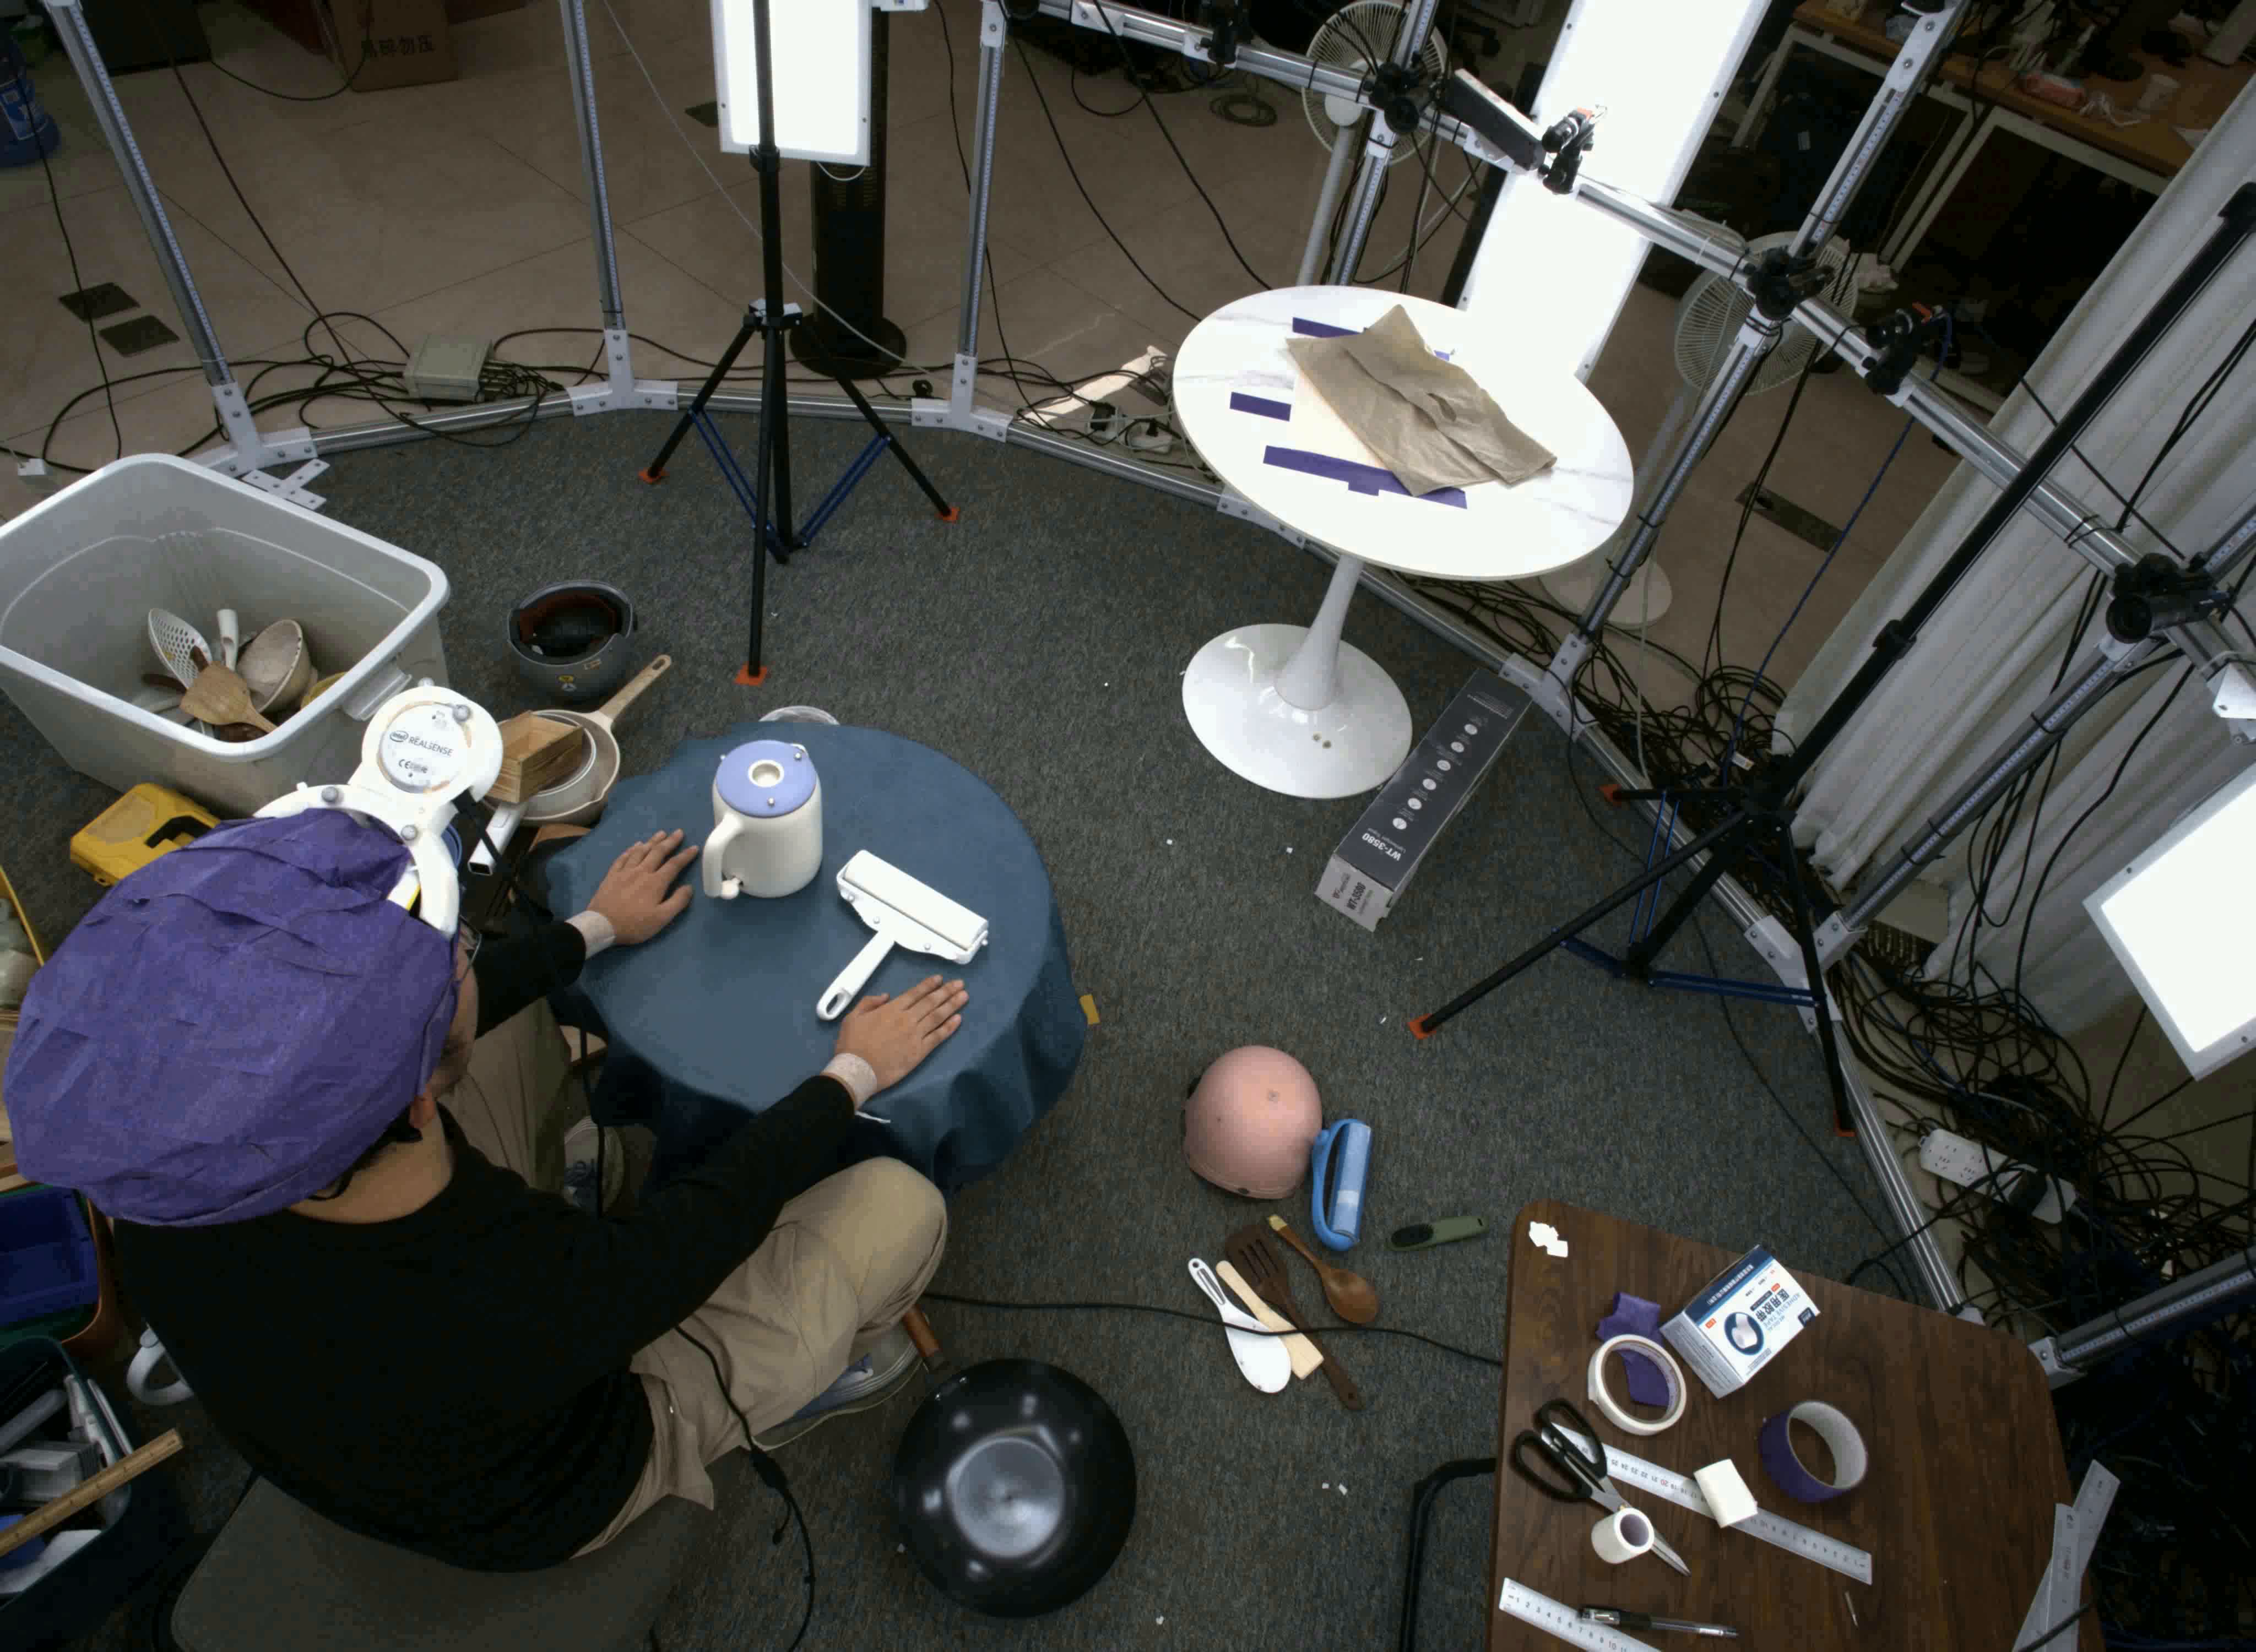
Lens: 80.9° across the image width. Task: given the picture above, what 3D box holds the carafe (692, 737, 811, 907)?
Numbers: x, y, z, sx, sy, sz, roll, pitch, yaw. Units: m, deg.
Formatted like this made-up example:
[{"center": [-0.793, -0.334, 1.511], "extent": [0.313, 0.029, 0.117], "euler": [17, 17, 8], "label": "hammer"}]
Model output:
[{"center": [-0.474, 0.007, 1.589], "extent": [0.130, 0.186, 0.190], "euler": [26, 54, 9], "label": "carafe"}]

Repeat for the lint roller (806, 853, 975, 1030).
[{"center": [-0.326, 0.155, 1.601], "extent": [0.200, 0.049, 0.224], "euler": [29, 54, 6], "label": "lint roller"}]
